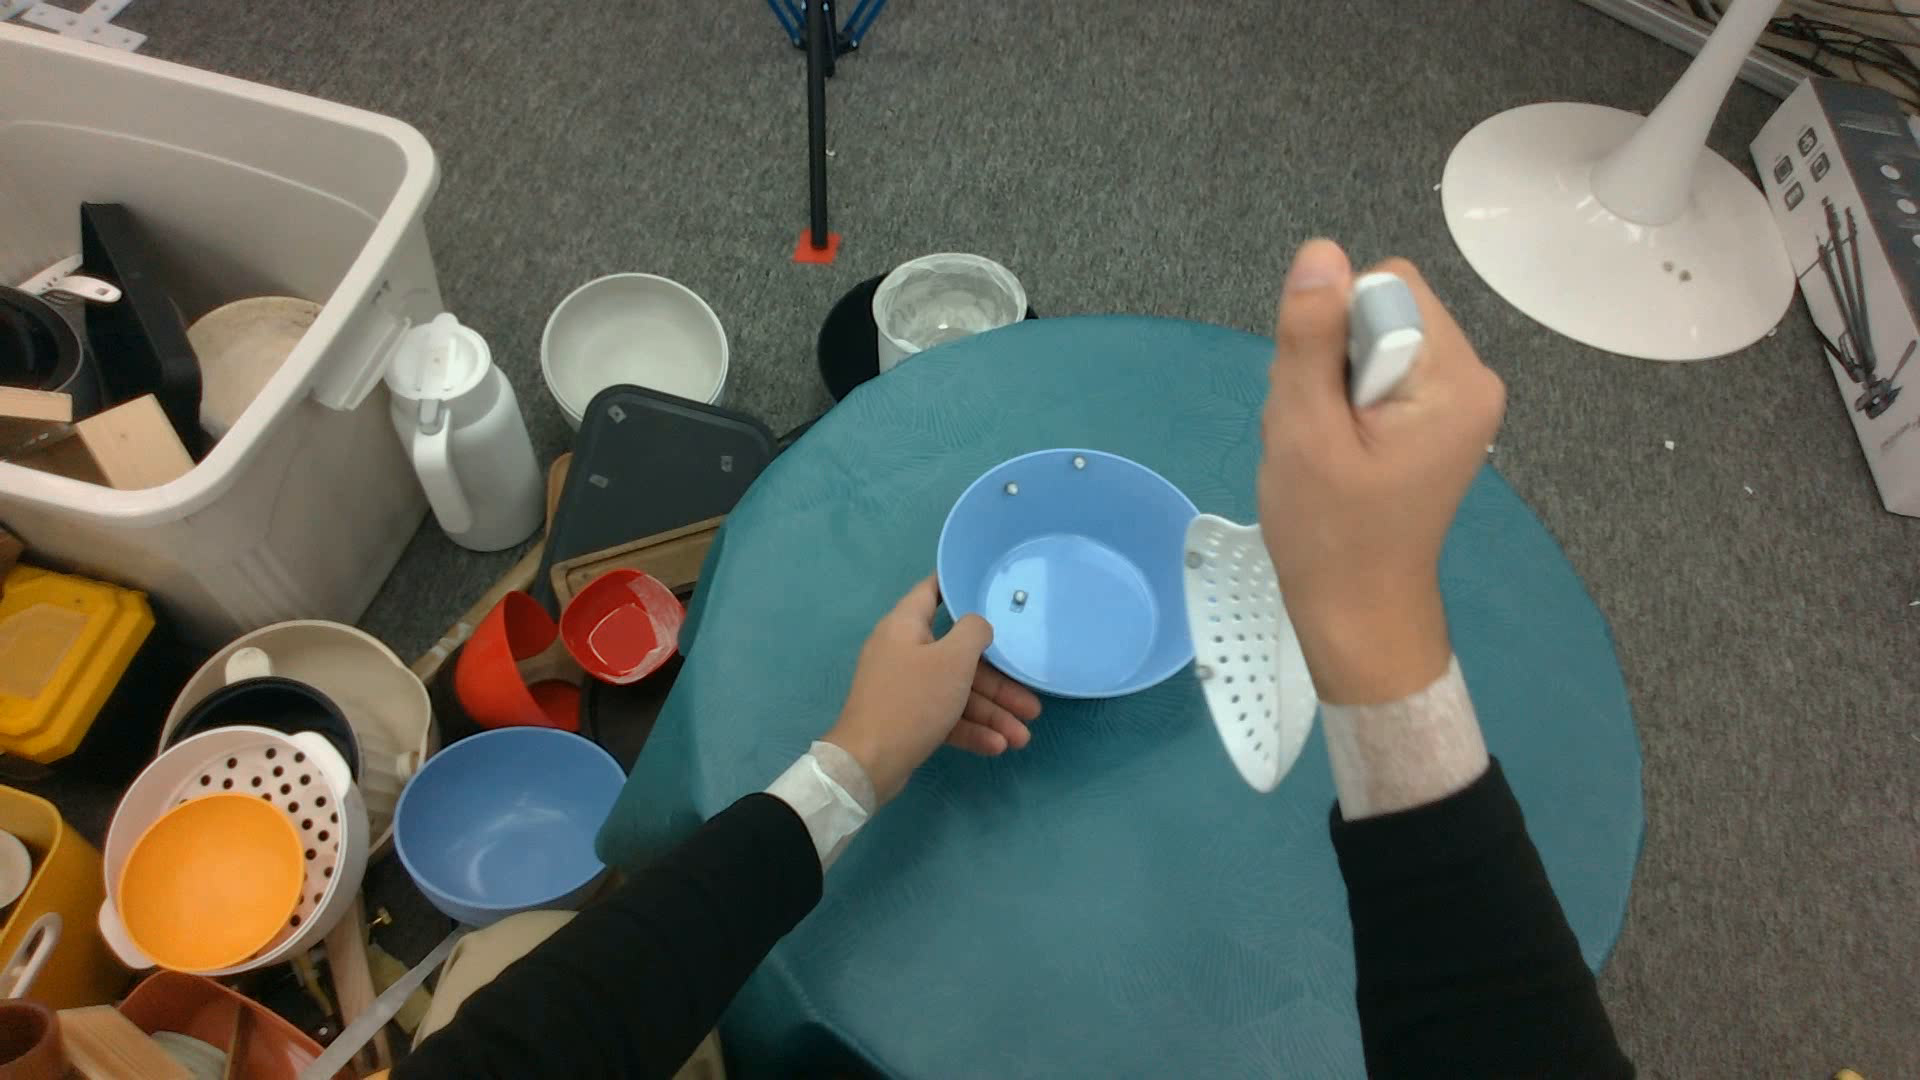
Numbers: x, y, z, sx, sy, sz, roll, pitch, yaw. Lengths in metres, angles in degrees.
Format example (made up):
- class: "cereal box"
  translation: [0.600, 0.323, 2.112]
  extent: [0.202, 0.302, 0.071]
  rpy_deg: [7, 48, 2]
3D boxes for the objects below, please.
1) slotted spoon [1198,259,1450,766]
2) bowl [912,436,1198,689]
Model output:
- class: "slotted spoon"
  translation: [0.143, -0.004, 0.583]
  extent: [0.046, 0.348, 0.136]
  rpy_deg: [-10, 65, 1]
- class: "bowl"
  translation: [0.056, 0.025, 0.861]
  extent: [0.176, 0.070, 0.177]
  rpy_deg: [3, 59, -4]
